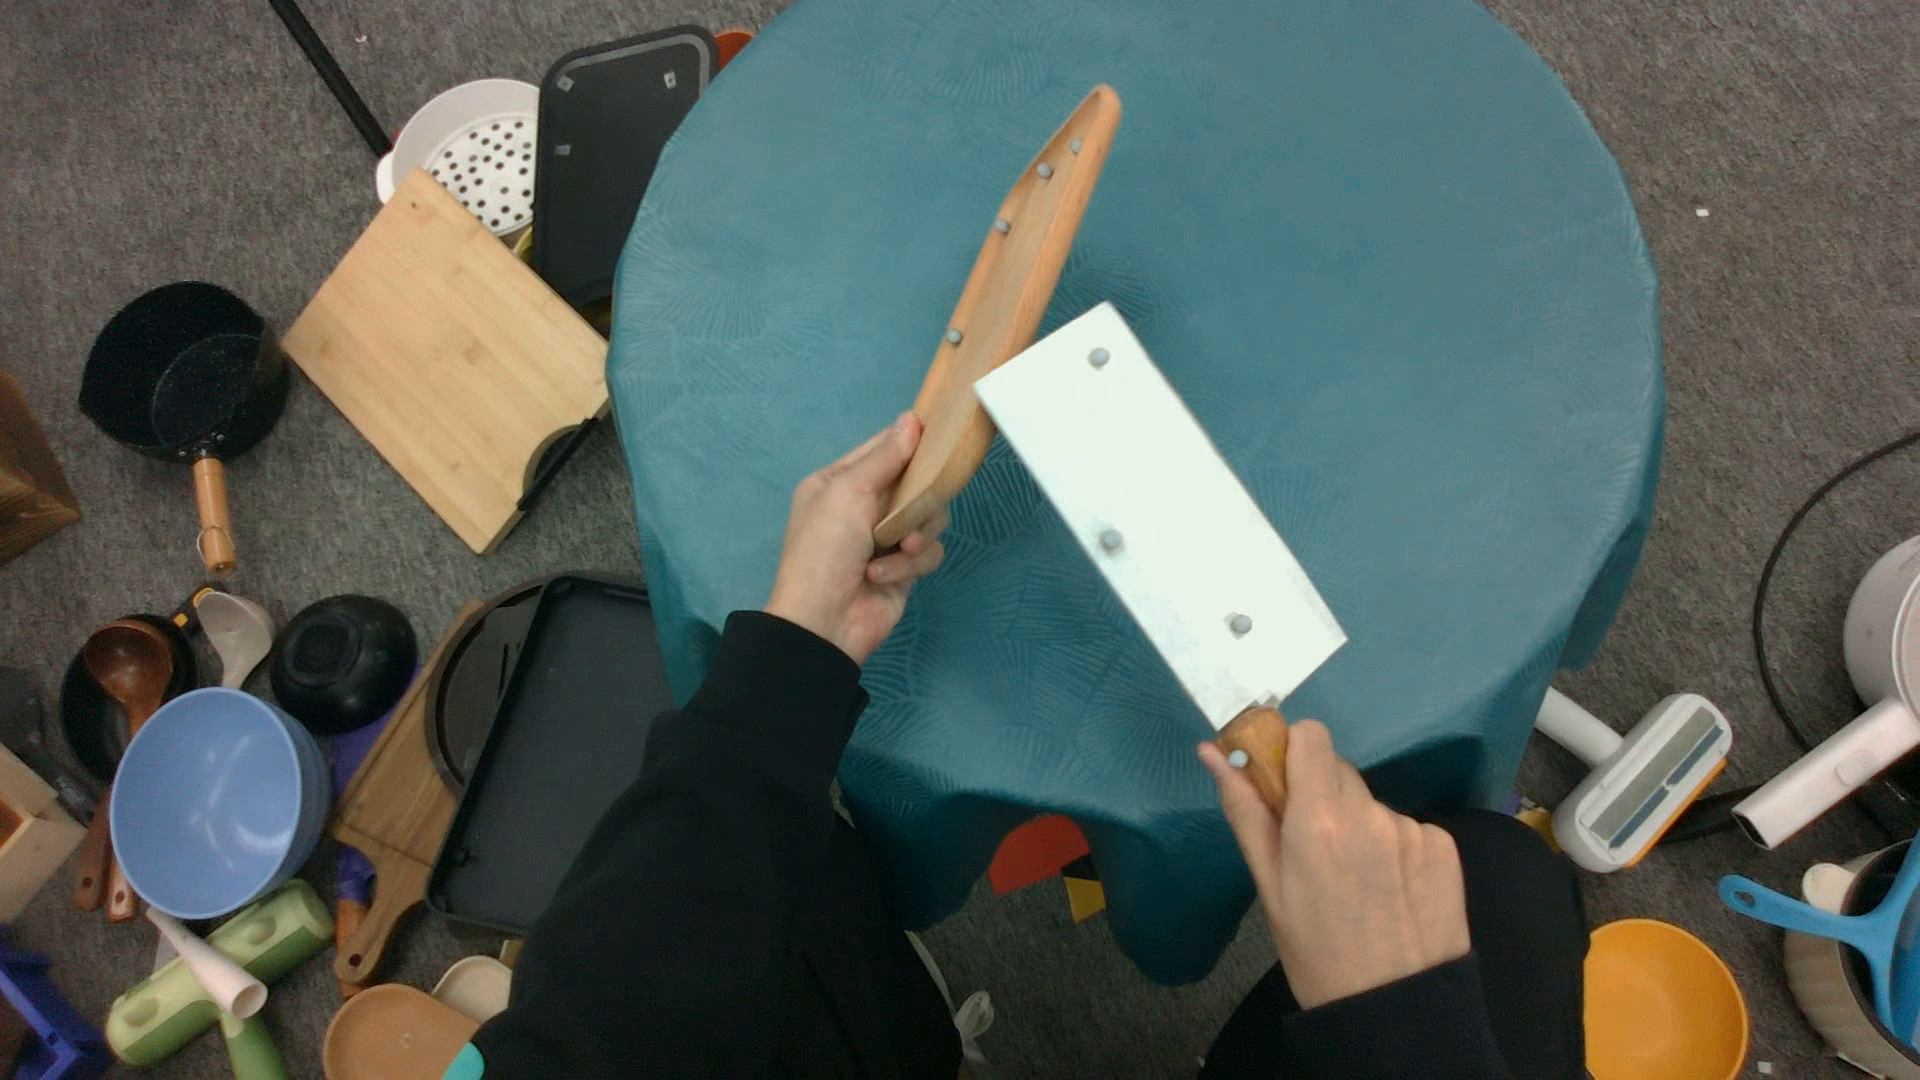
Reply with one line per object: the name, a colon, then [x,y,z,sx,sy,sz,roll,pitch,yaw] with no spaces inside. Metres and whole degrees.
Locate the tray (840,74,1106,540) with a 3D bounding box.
tray: [0.008,-0.116,0.683,0.023,0.130,0.252,27,64,-12]

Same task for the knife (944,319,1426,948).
knife: [0.113,0.033,0.601,0.093,0.021,0.306,-38,90,-32]
